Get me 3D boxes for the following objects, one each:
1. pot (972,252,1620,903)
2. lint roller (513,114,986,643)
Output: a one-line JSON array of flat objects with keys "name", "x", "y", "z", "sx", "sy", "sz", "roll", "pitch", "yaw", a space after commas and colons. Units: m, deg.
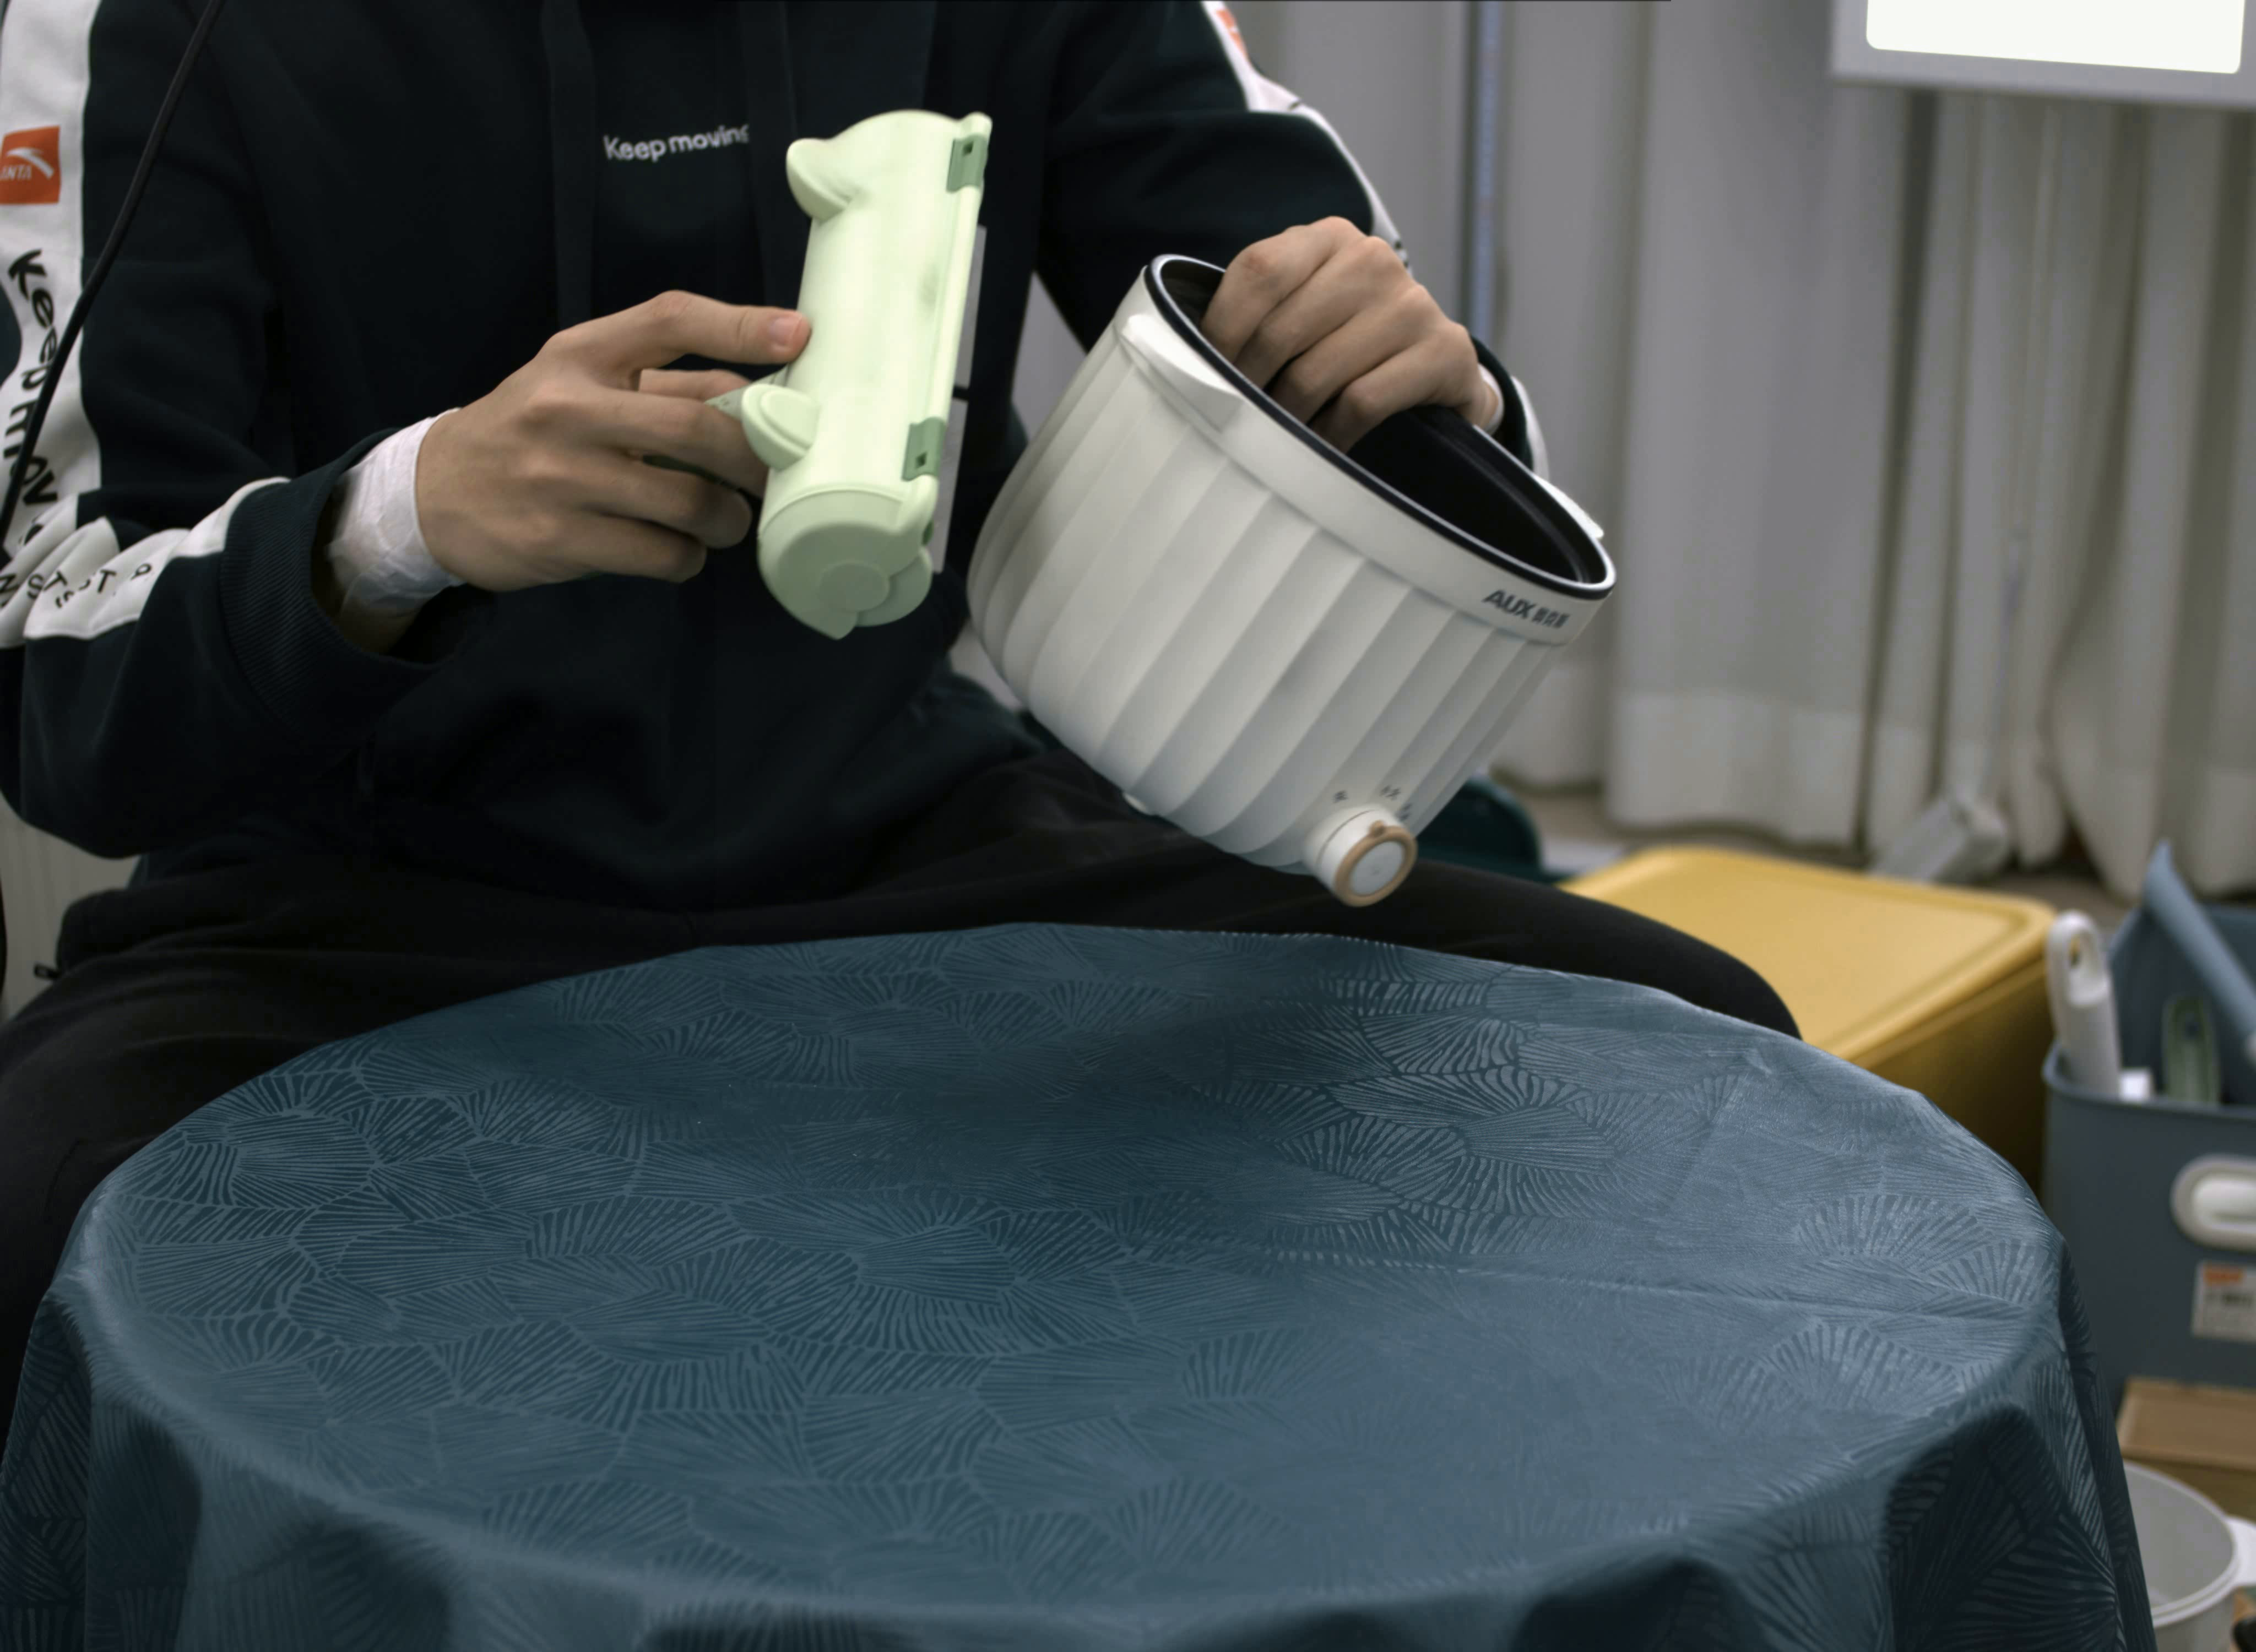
[{"name": "pot", "x": 0.050, "y": -0.074, "z": 1.689, "sx": 0.243, "sy": 0.143, "sz": 0.188, "roll": 14, "pitch": 22, "yaw": -50}, {"name": "lint roller", "x": -0.132, "y": -0.133, "z": 1.654, "sx": 0.182, "sy": 0.083, "sz": 0.197, "roll": -17, "pitch": 42, "yaw": 22}]
